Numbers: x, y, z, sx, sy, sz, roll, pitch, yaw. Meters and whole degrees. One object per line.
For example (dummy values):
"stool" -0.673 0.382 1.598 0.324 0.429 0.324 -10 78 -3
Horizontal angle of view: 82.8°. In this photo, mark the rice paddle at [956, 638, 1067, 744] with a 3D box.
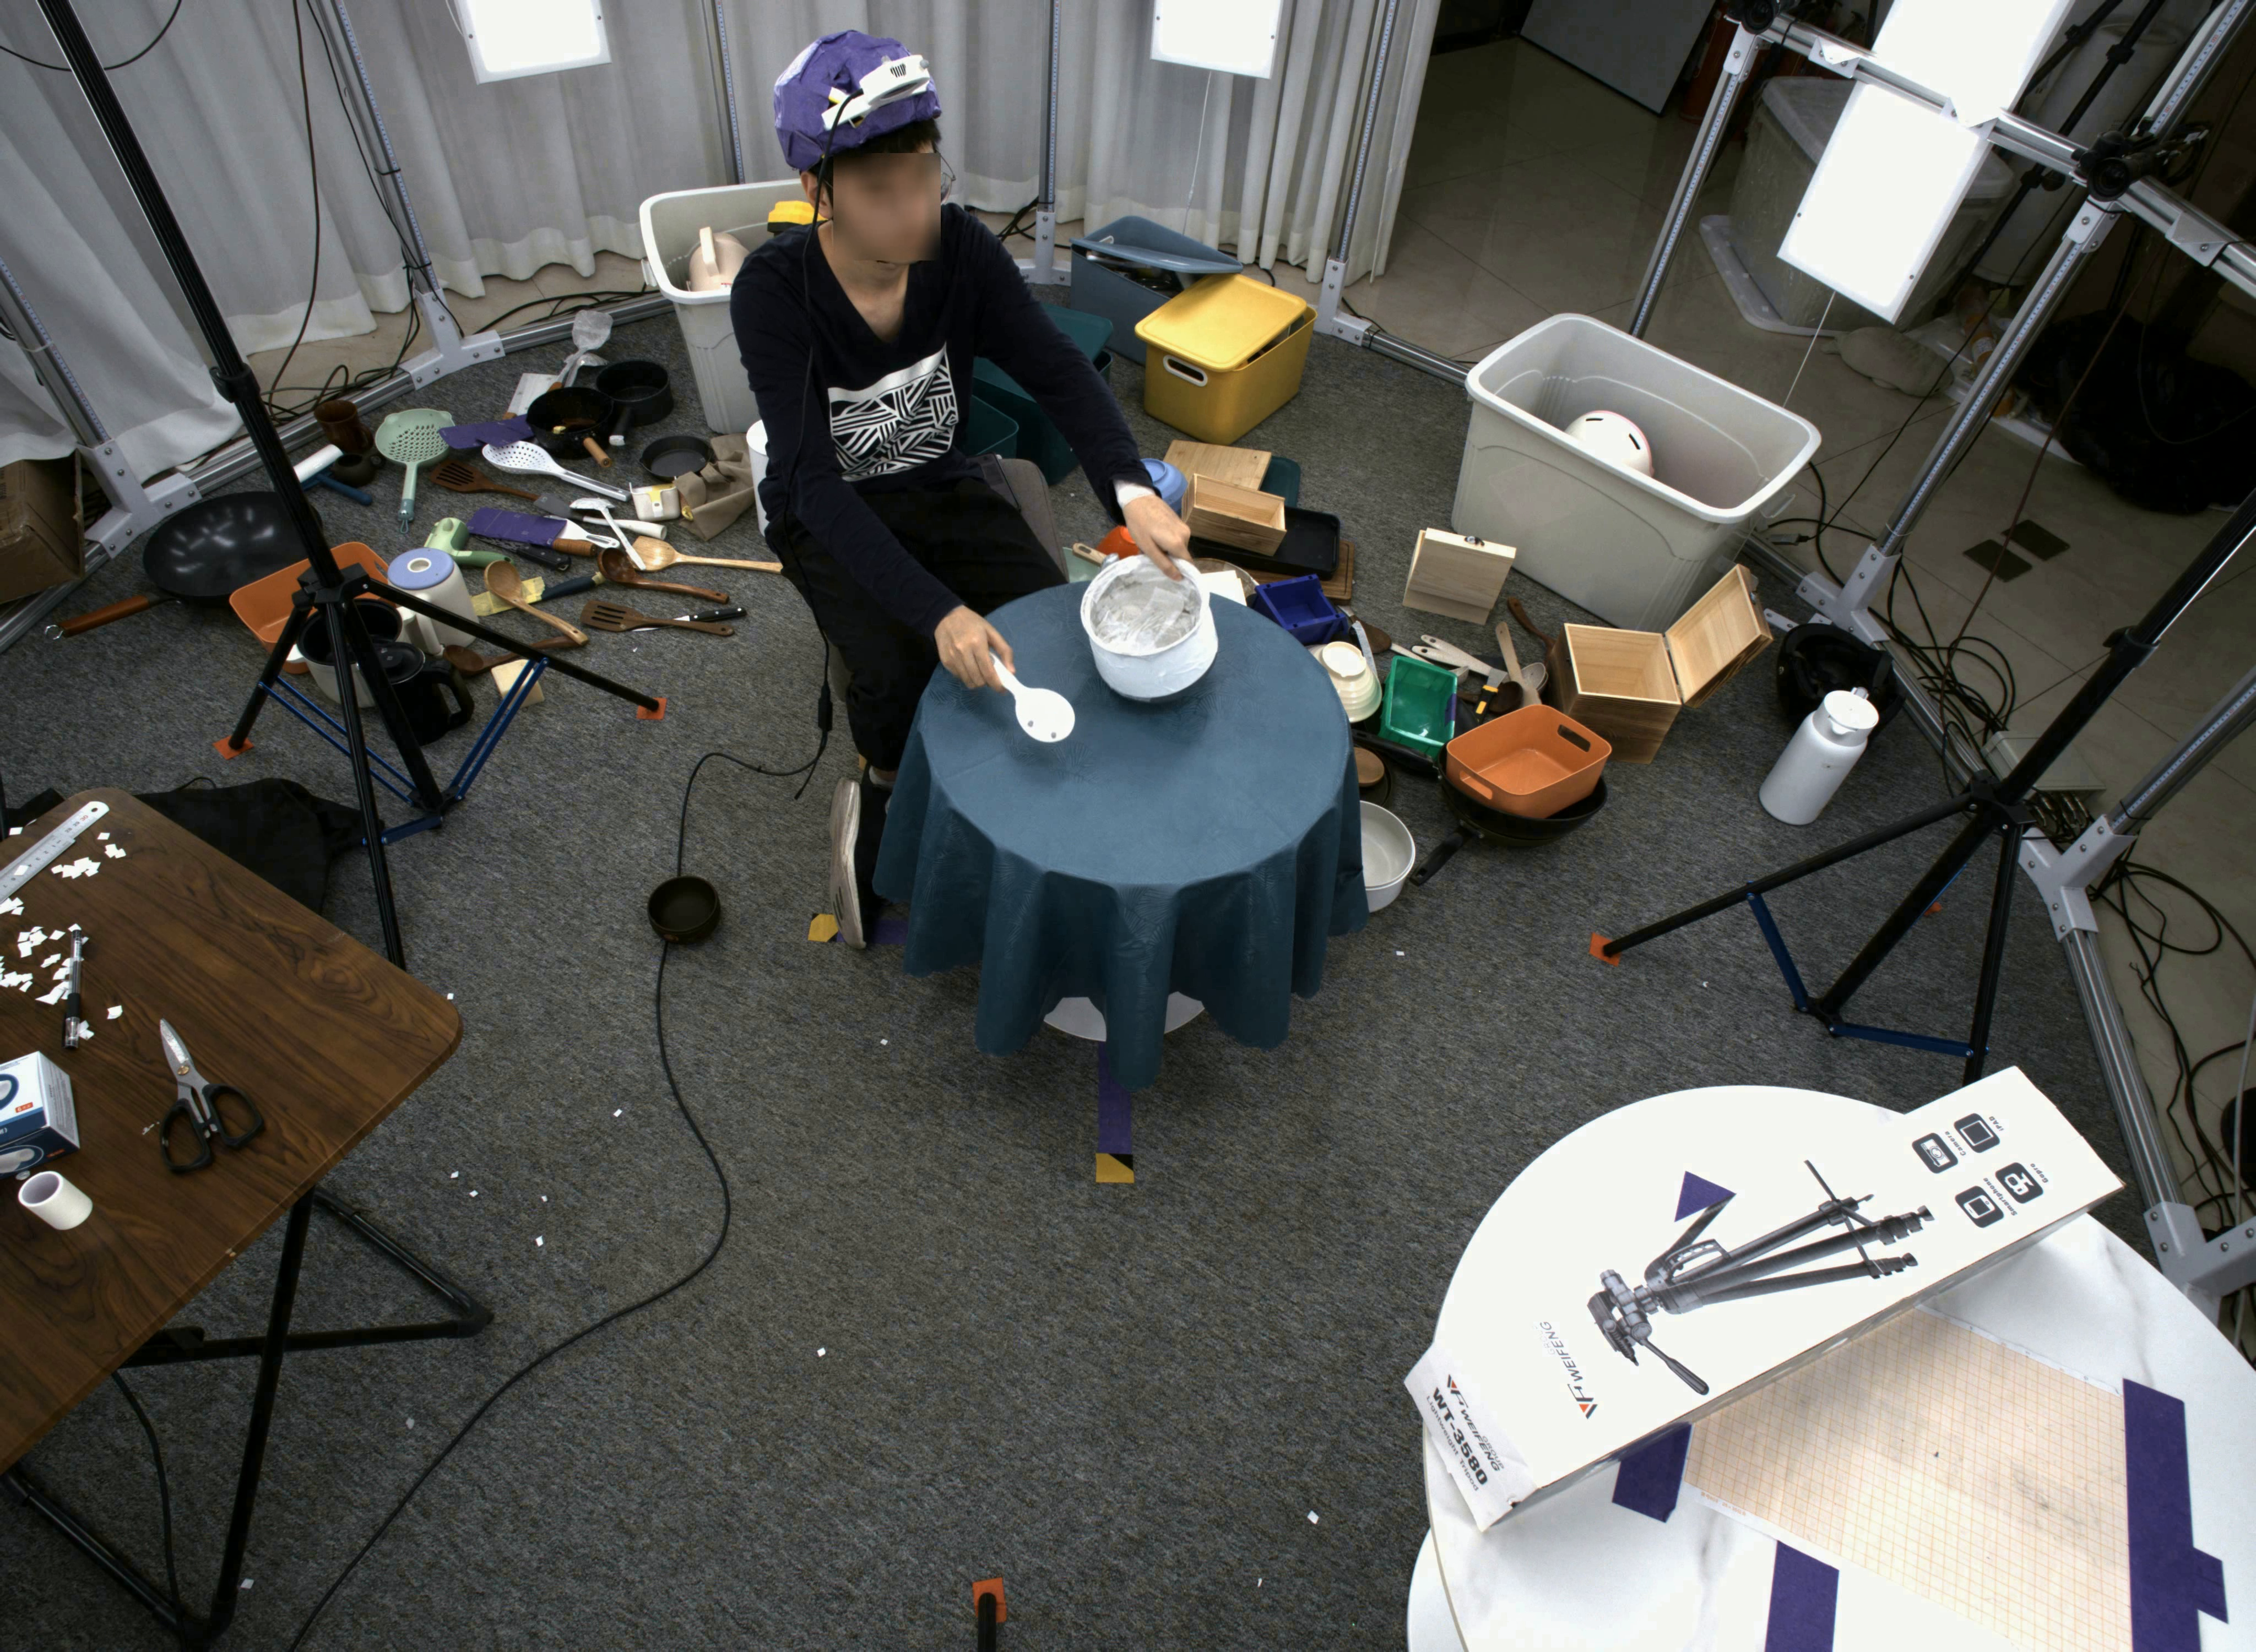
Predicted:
"rice paddle" -0.159 -0.183 1.744 0.069 0.029 0.208 -38 65 -17

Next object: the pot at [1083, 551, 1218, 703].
"pot" 0.021 -0.292 1.805 0.179 0.133 0.238 -28 58 -8
